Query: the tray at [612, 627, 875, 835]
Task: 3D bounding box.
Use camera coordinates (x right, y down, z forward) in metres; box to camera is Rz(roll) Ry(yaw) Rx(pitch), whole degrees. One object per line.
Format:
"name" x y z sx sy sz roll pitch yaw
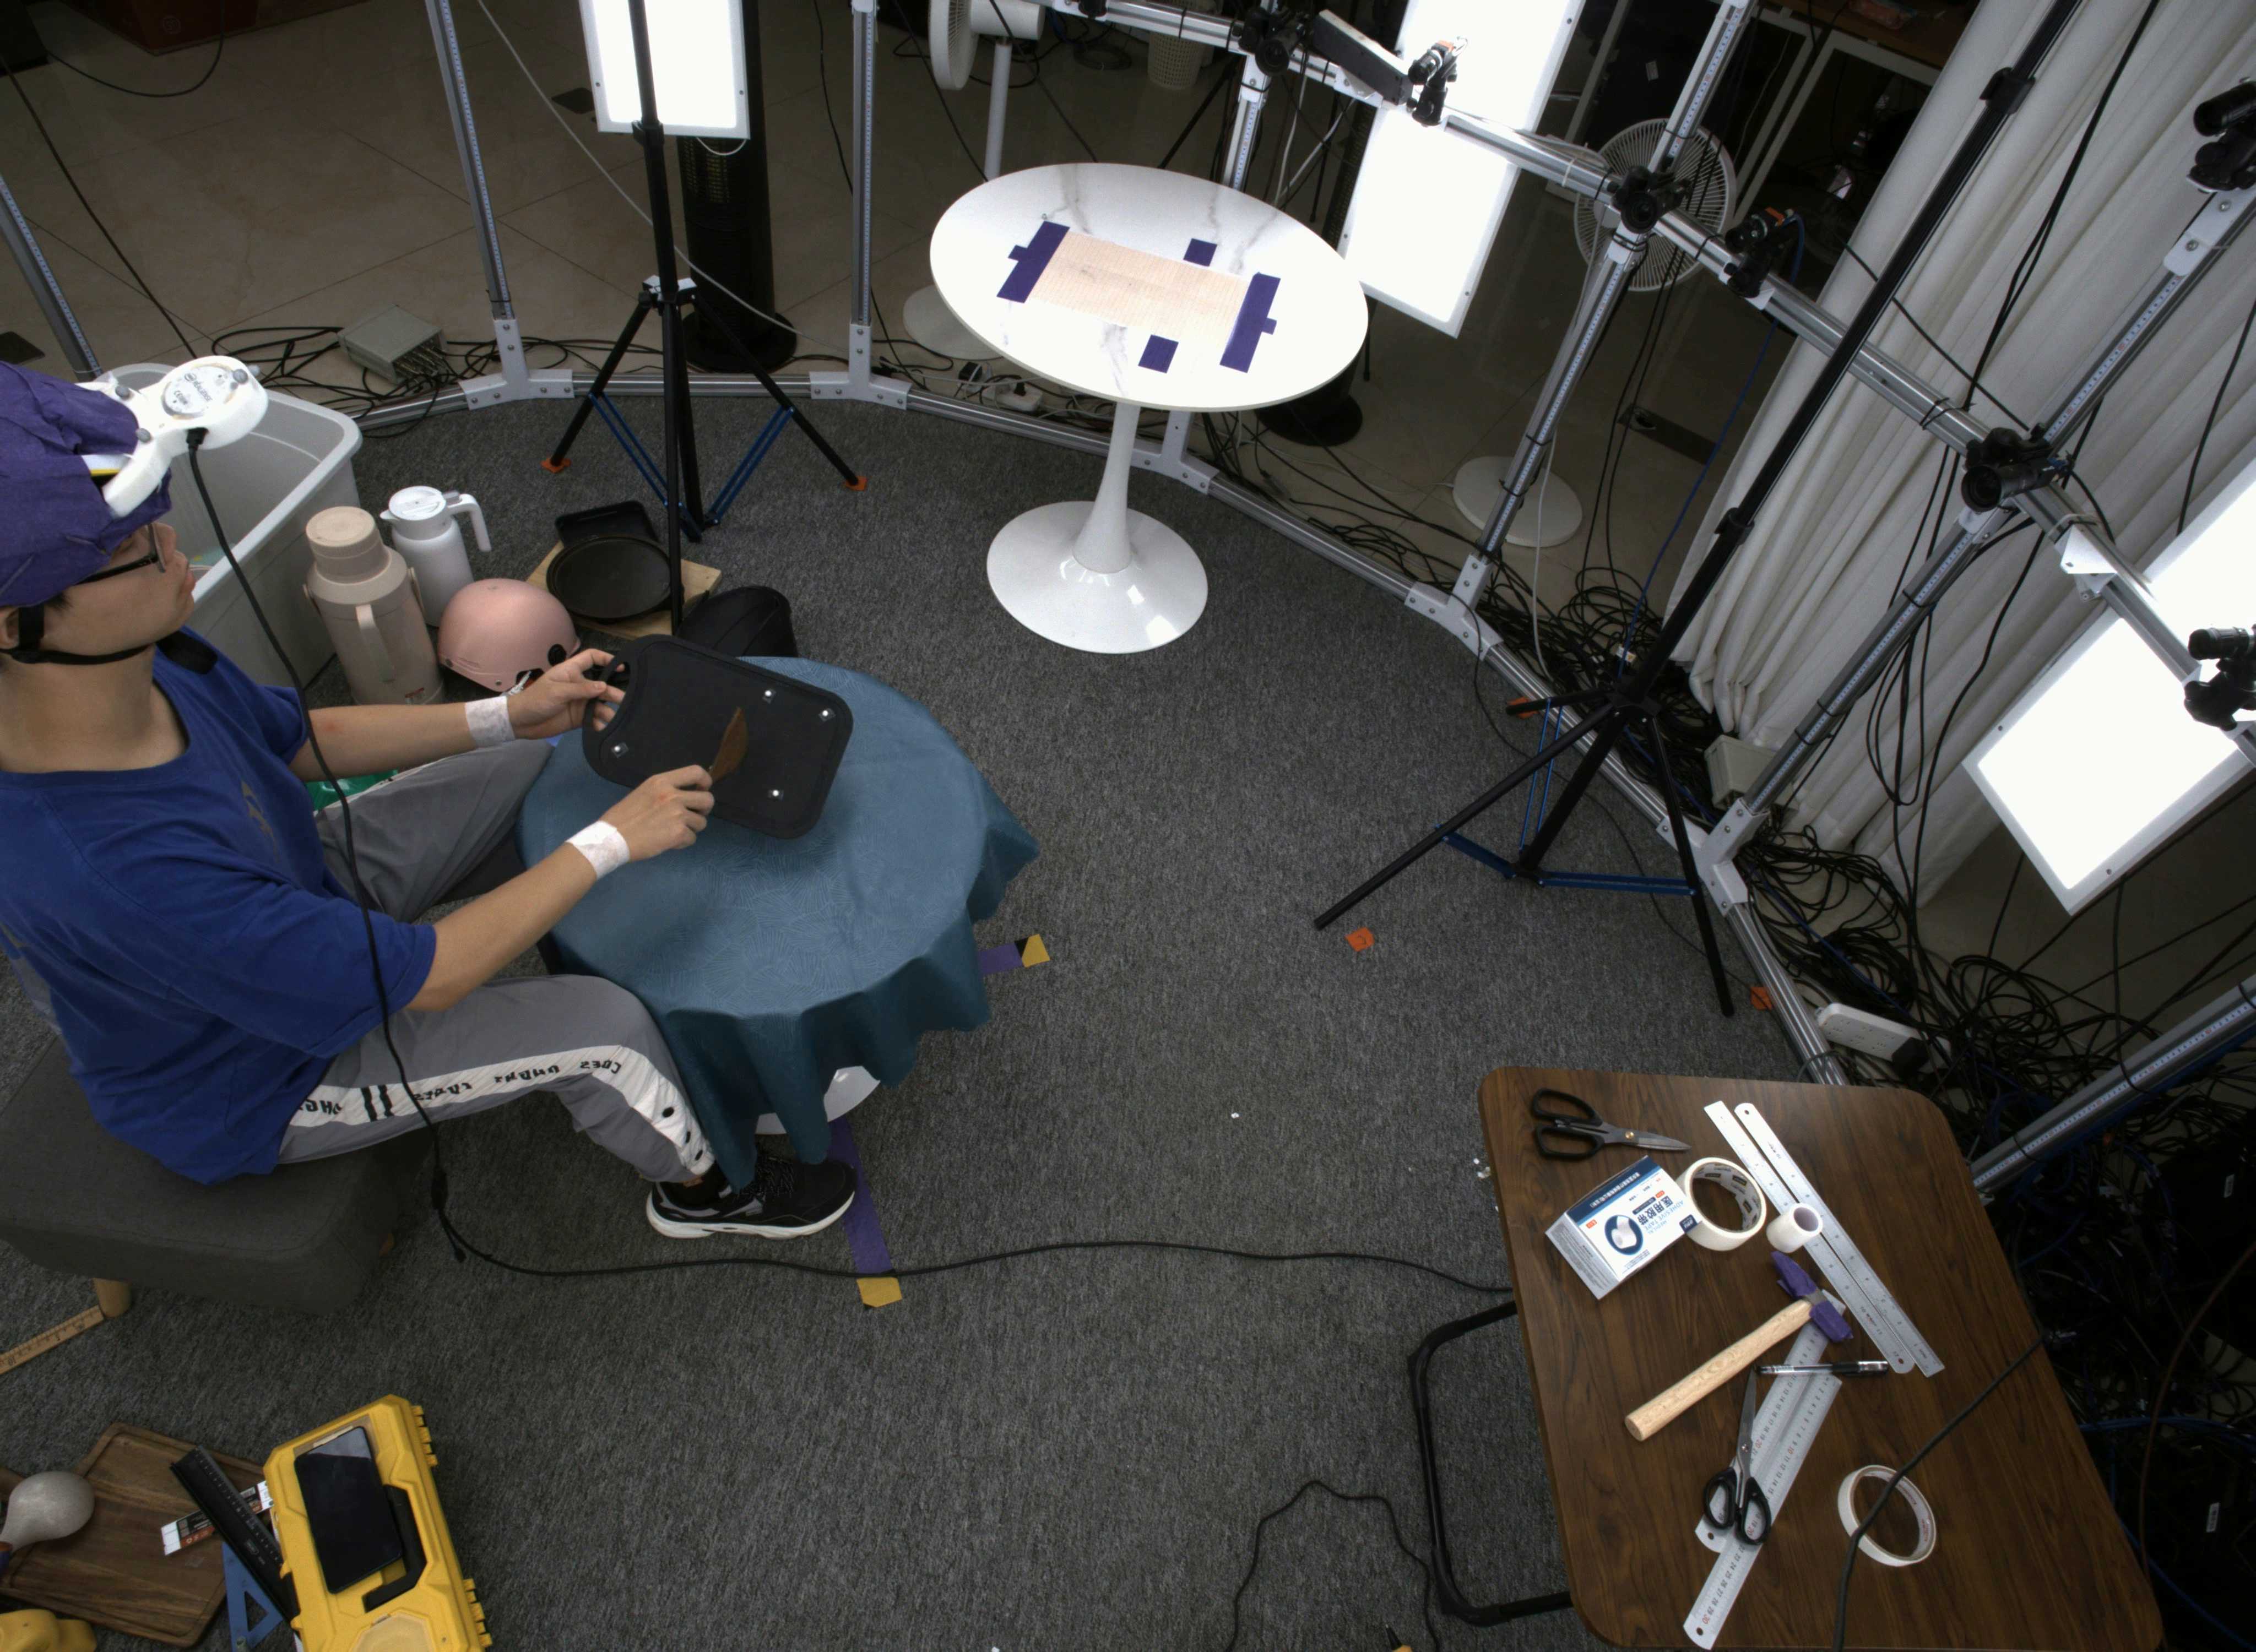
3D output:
"tray" -0.504 -0.128 1.666 0.326 0.010 0.211 21 72 -10

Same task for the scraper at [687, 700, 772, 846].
"scraper" -0.488 -0.062 1.586 0.010 0.078 0.209 14 52 10
